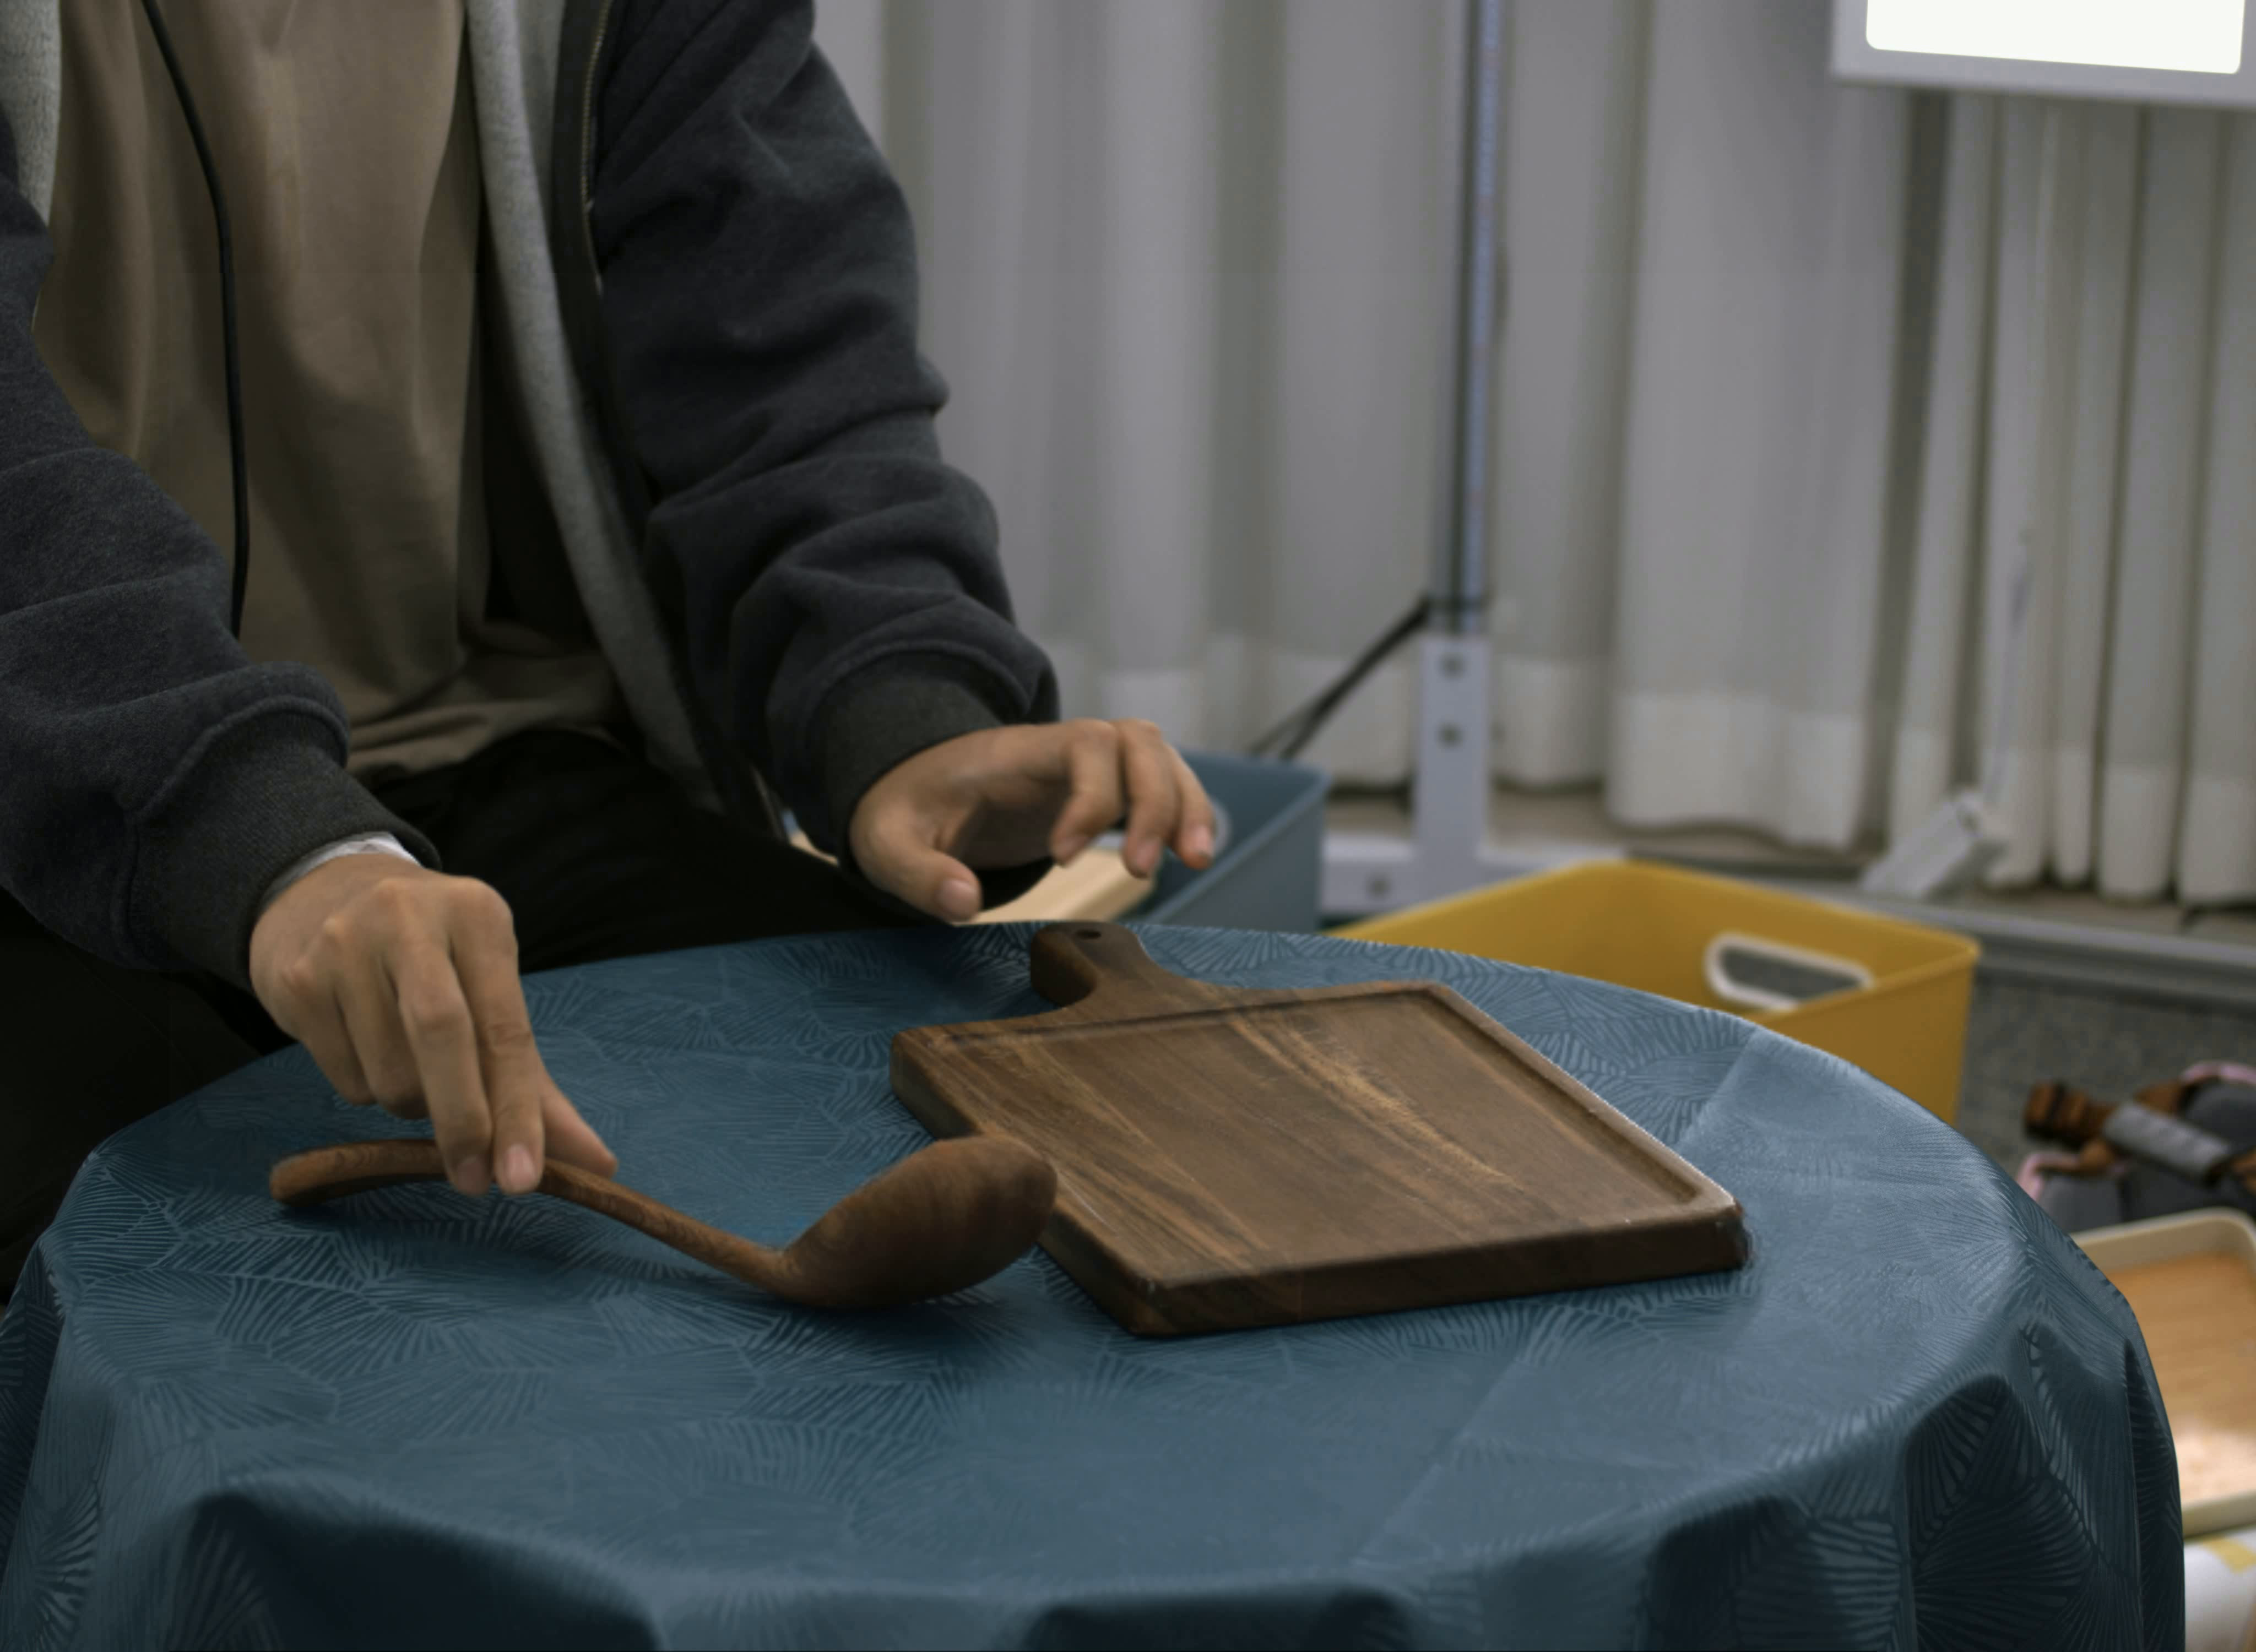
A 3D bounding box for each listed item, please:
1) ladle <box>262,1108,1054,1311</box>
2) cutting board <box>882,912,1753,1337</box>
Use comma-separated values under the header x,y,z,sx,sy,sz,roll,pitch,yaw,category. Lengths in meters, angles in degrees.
x,y,z,sx,sy,sz,roll,pitch,yaw,category
-0.141,0.099,1.546,0.257,0.065,0.077,8,-11,27,ladle
0.036,0.085,1.679,0.201,0.023,0.348,-4,16,-20,cutting board
